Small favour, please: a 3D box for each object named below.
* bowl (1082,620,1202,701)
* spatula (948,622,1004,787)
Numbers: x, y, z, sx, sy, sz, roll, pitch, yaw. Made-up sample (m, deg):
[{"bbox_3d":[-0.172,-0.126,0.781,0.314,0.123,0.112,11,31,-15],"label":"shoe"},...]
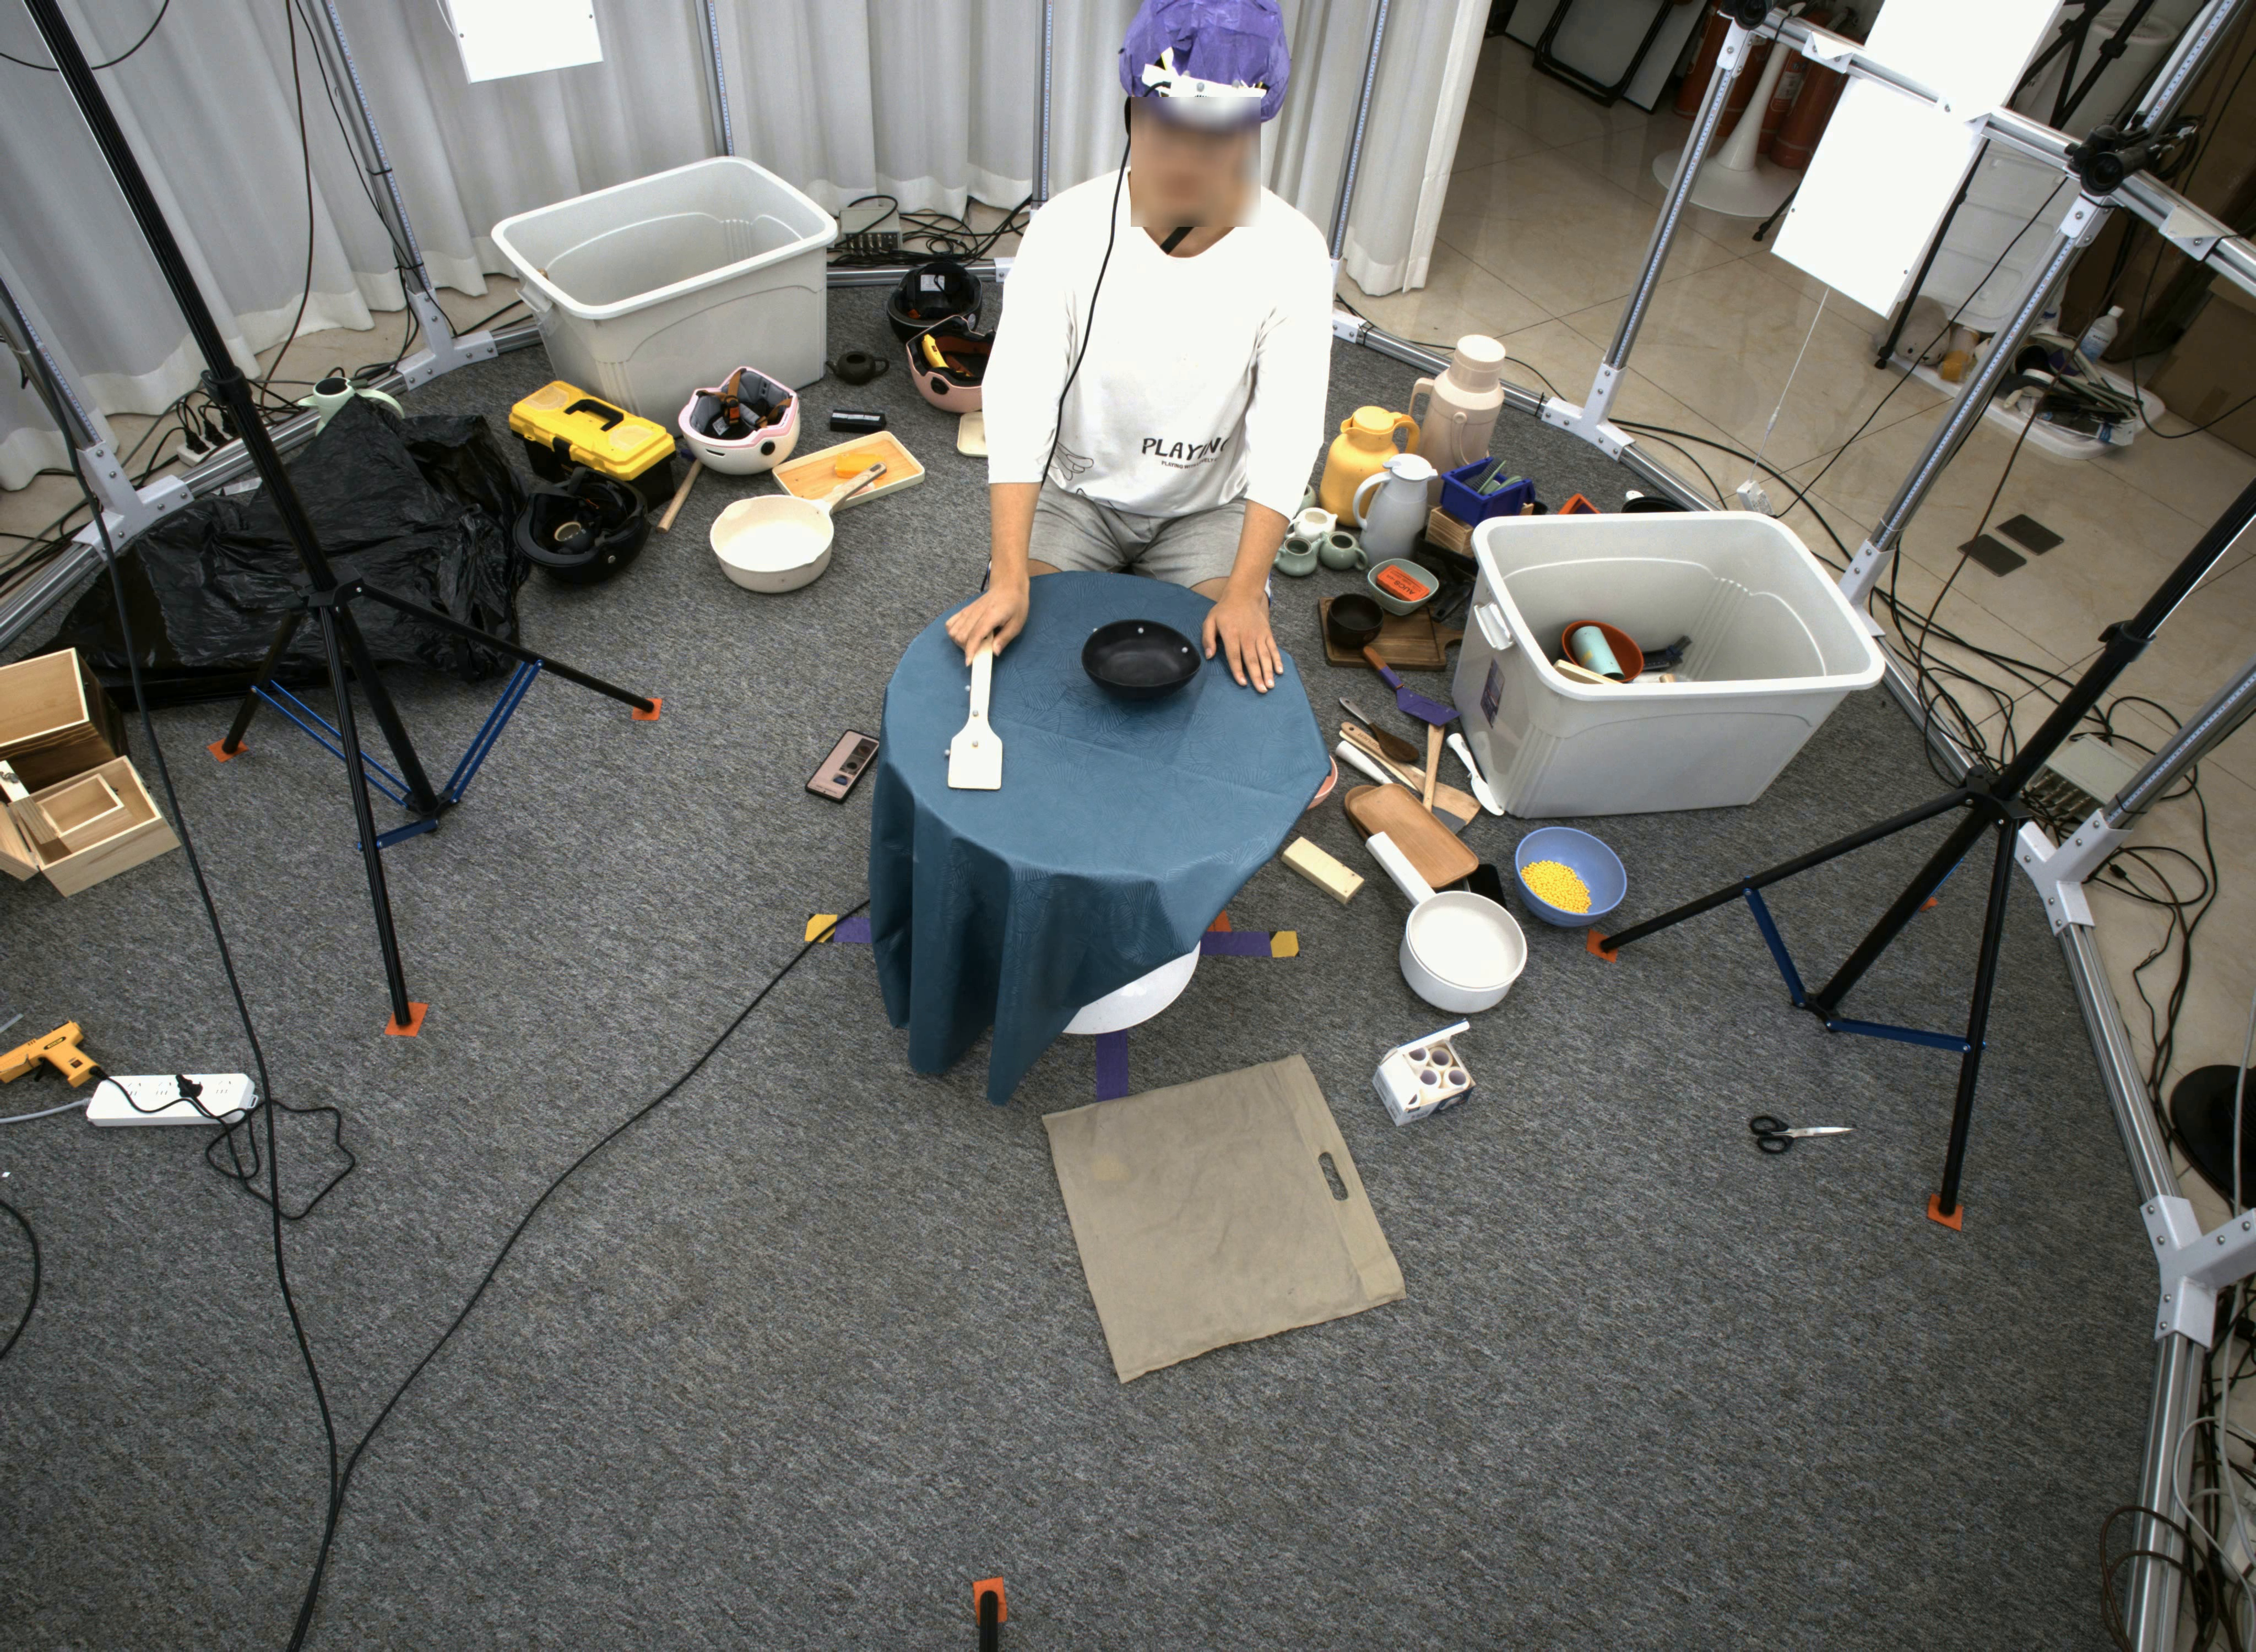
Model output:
[{"bbox_3d":[0.018,-0.225,1.820,0.170,0.065,0.141,-3,49,-10],"label":"bowl"},{"bbox_3d":[-0.204,-0.173,1.779,0.072,0.010,0.300,1,55,-3],"label":"spatula"}]
